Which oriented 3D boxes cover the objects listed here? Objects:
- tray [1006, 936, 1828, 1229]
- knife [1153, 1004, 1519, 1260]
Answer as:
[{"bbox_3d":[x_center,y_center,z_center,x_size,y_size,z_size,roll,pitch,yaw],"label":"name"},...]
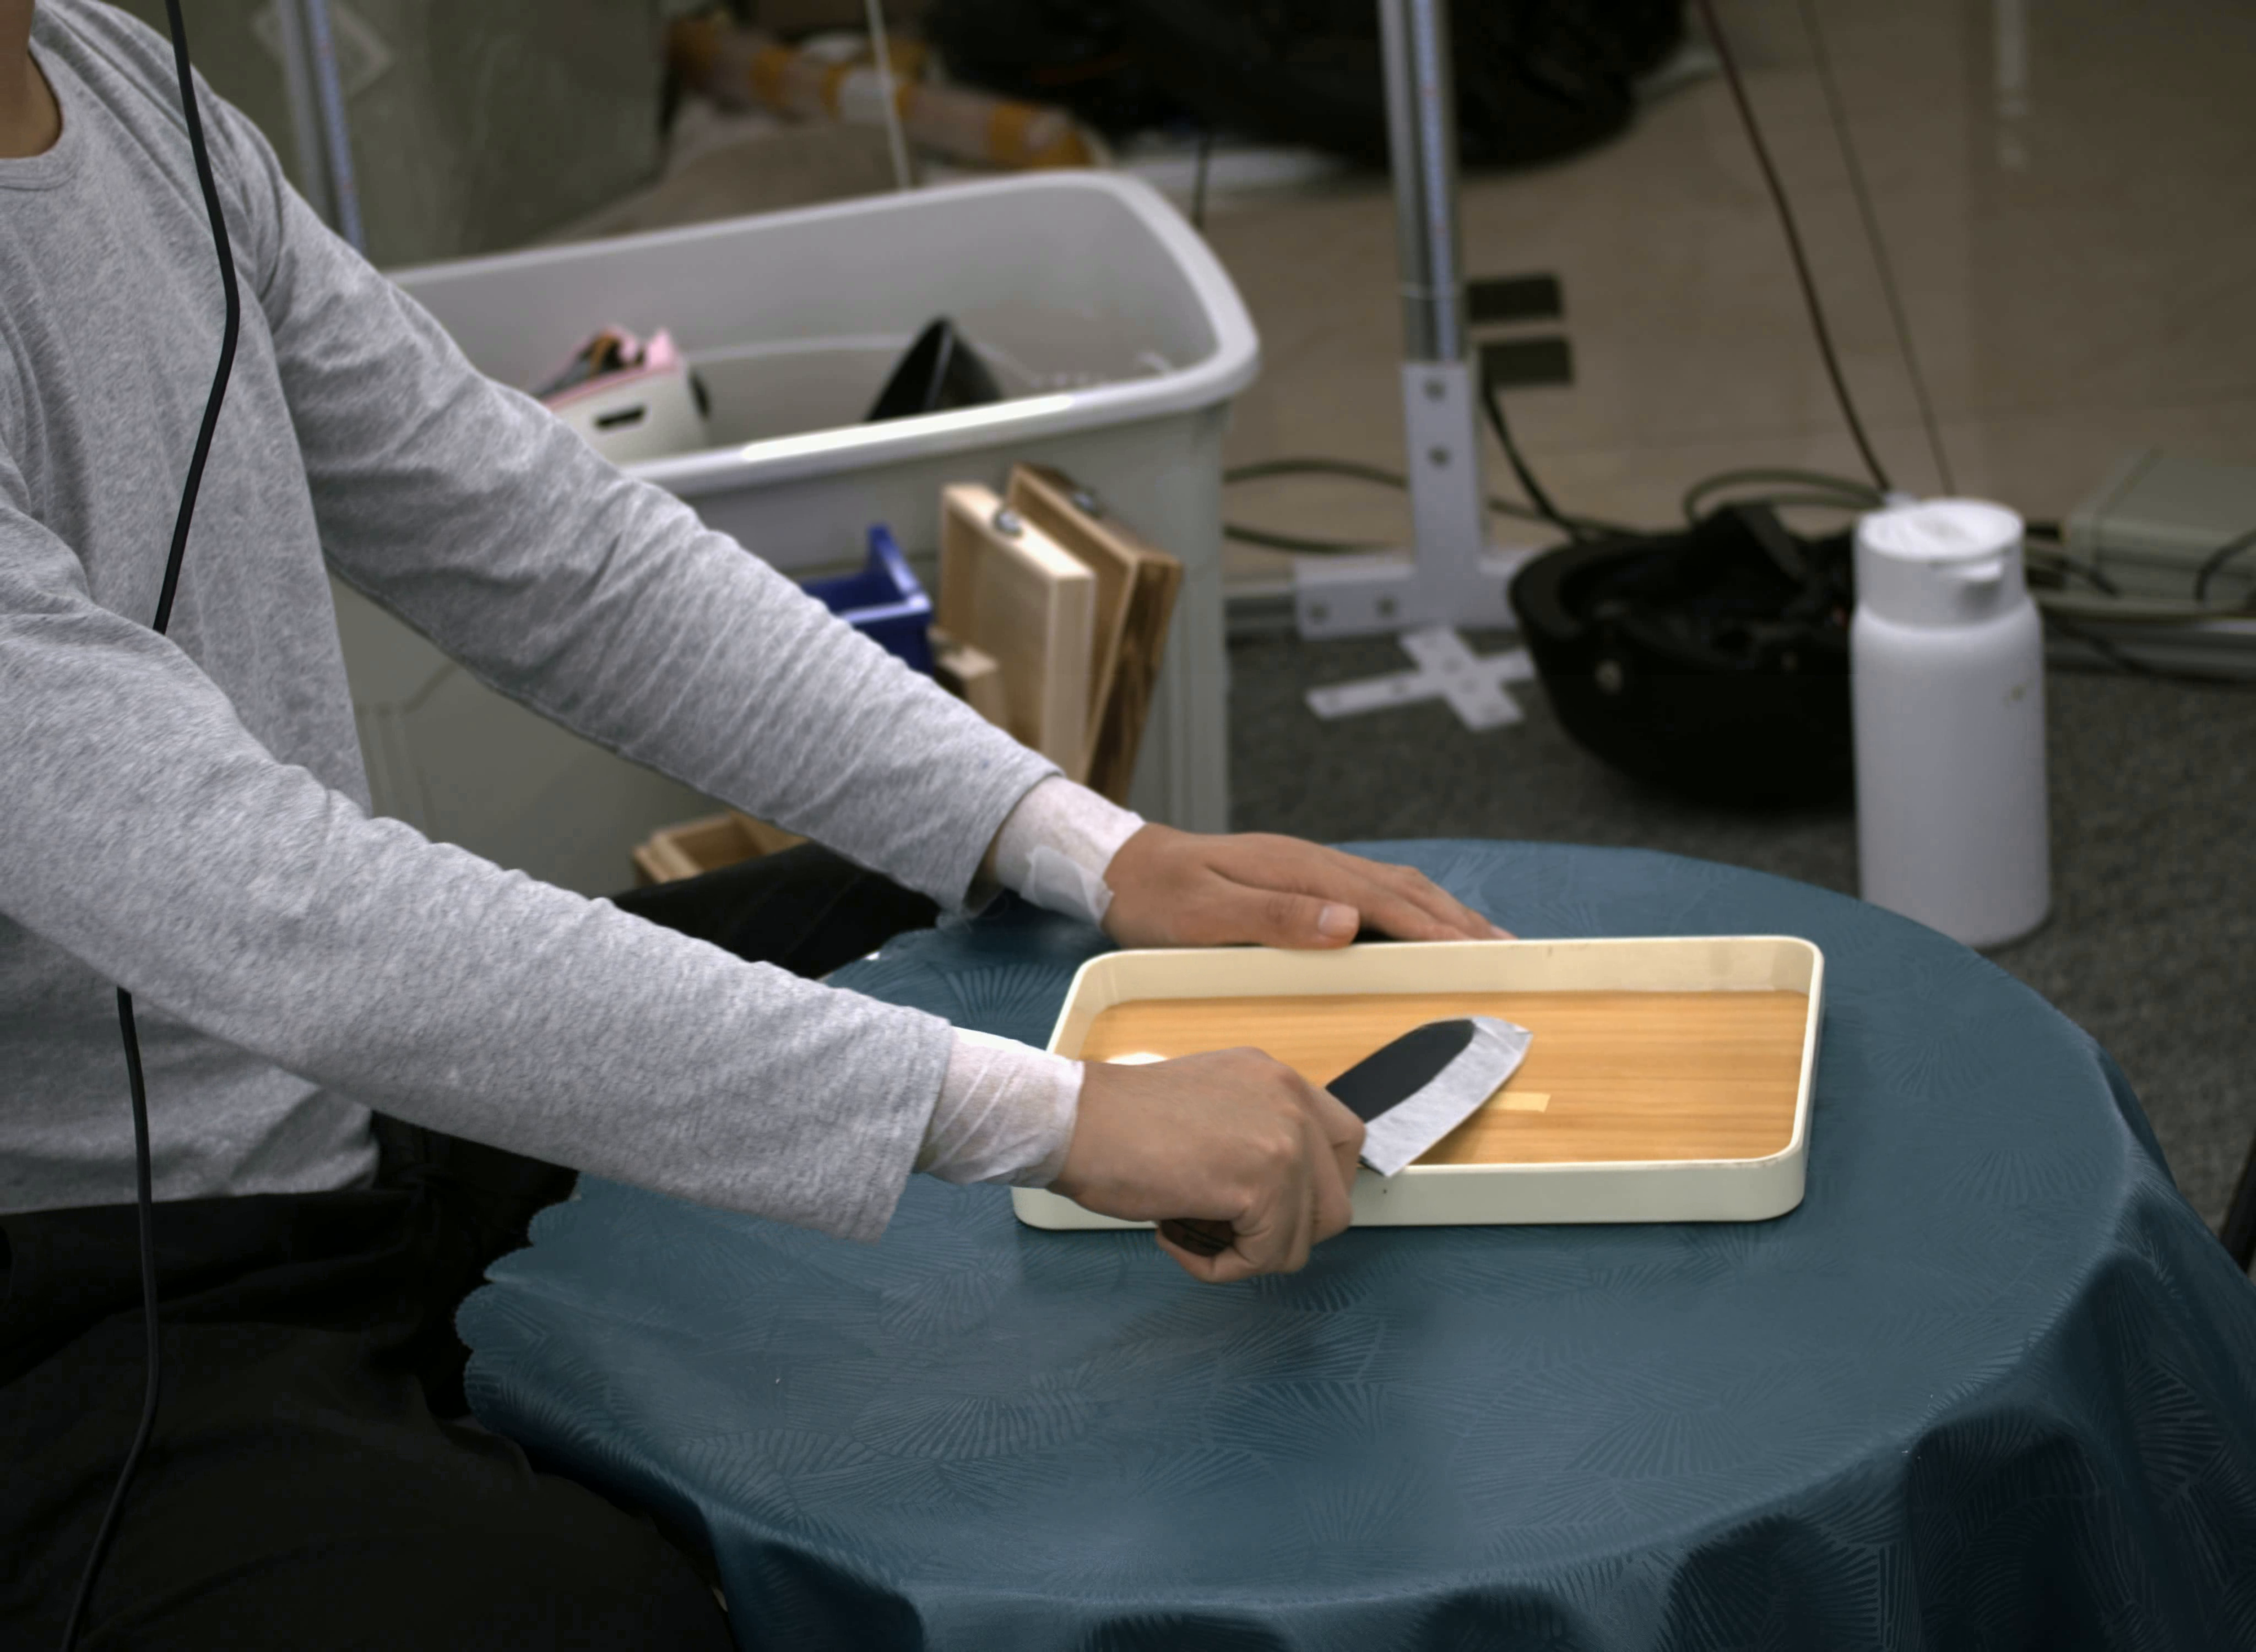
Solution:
[{"bbox_3d":[0.114,0.098,2.181,0.300,0.028,0.189,-2,25,11],"label":"tray"},{"bbox_3d":[0.082,0.110,2.102,0.050,0.020,0.287,41,28,14],"label":"knife"}]
